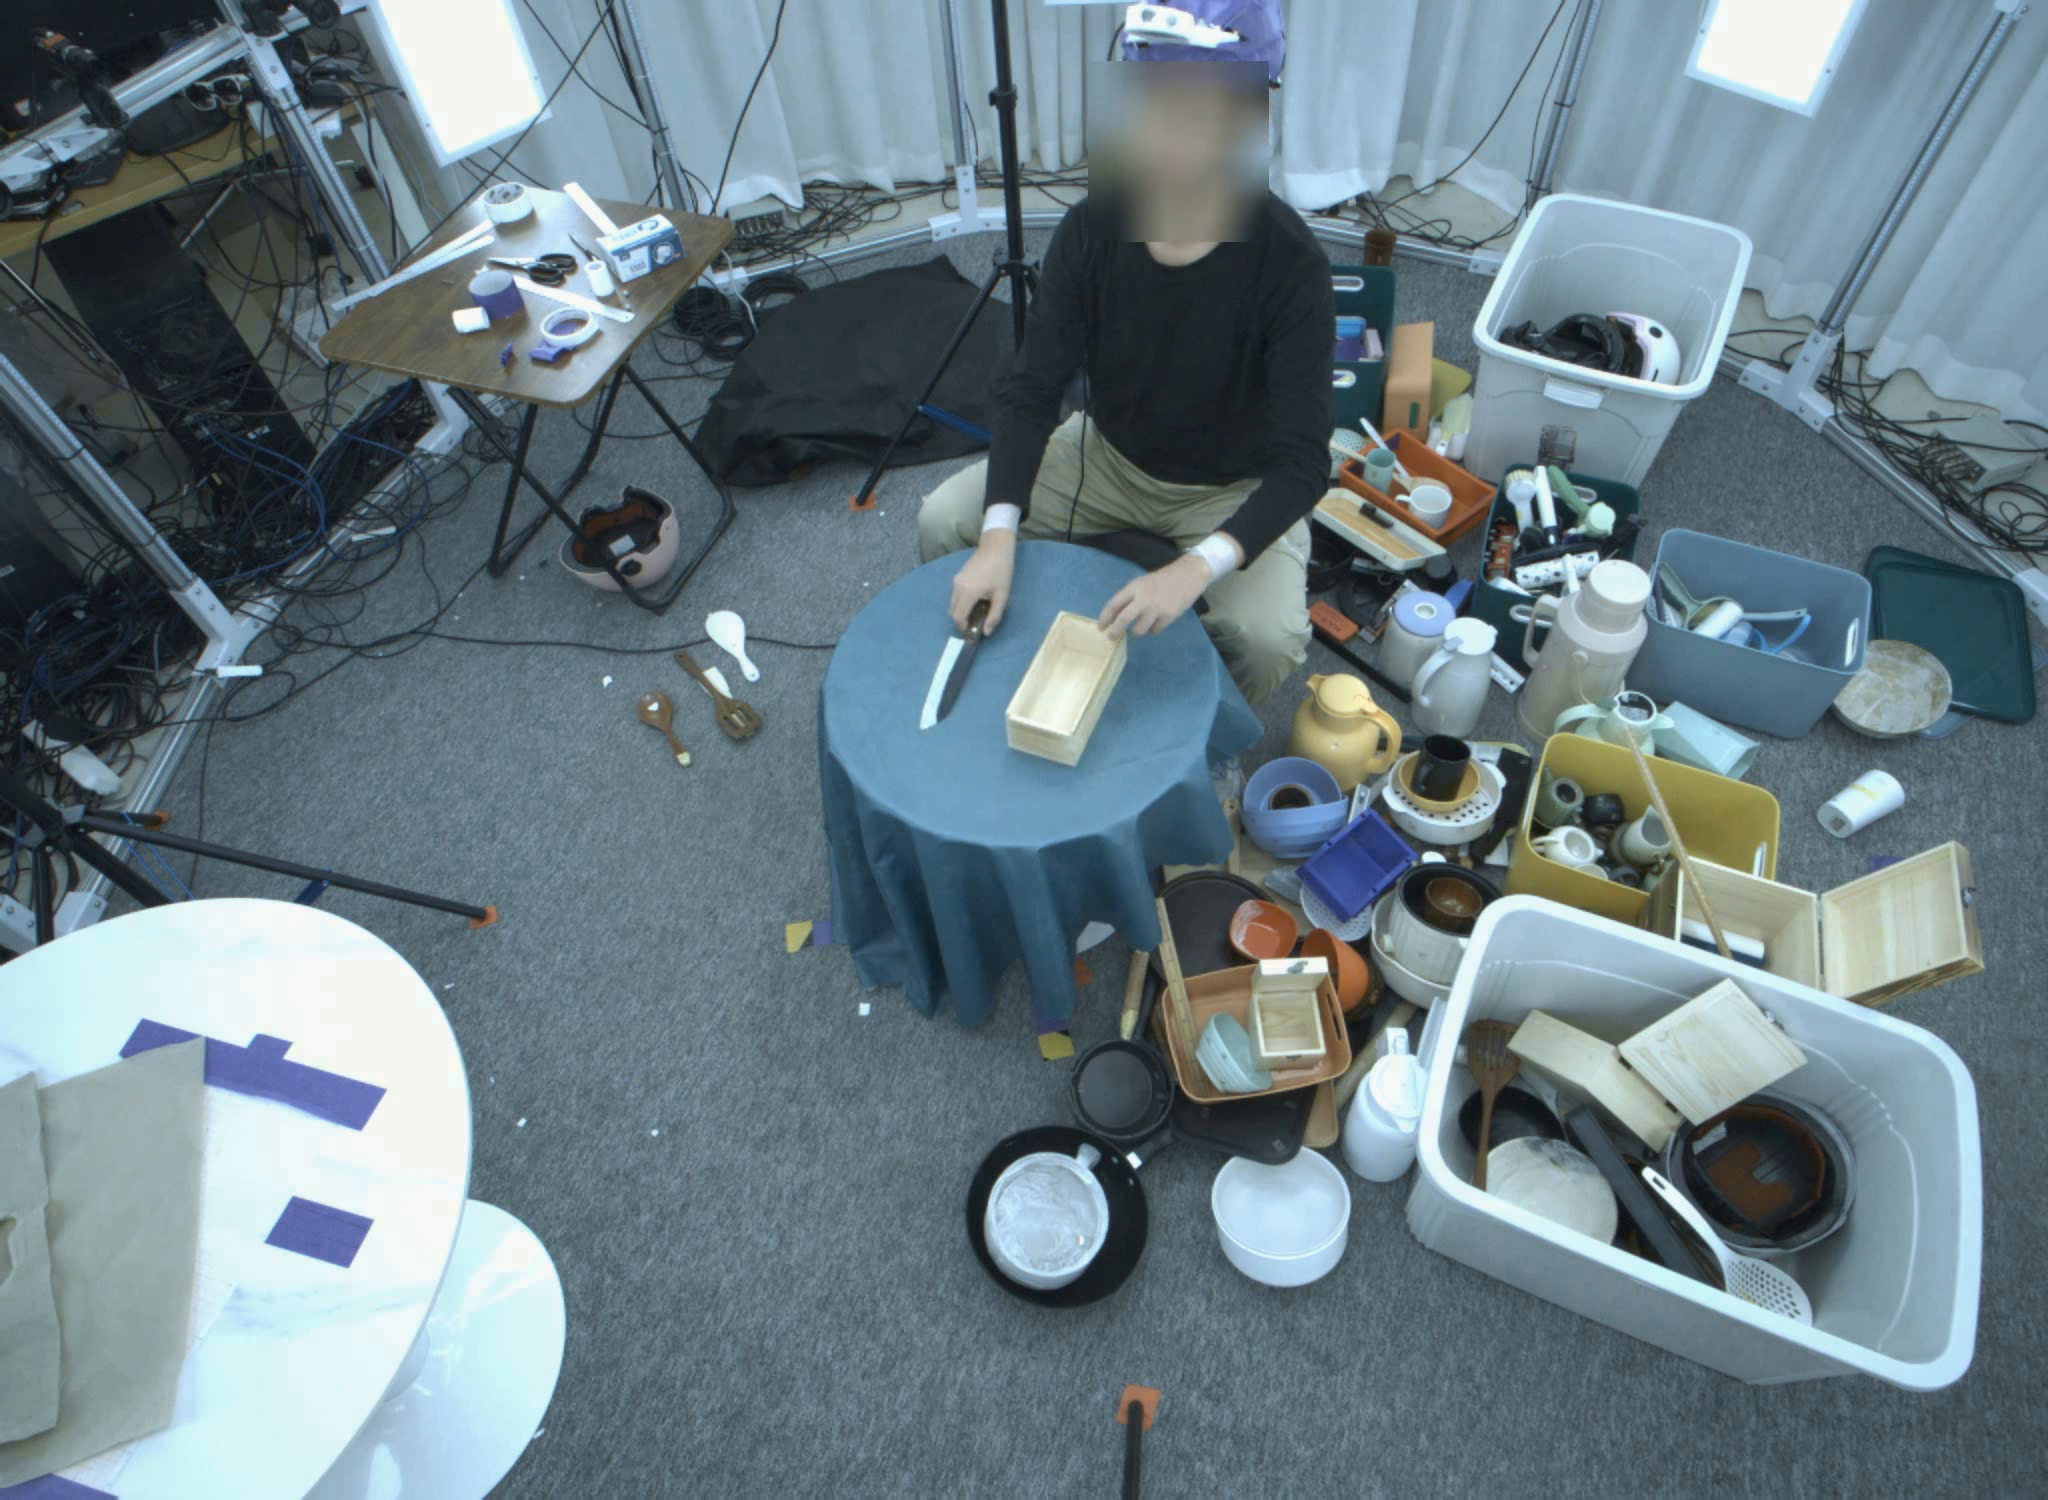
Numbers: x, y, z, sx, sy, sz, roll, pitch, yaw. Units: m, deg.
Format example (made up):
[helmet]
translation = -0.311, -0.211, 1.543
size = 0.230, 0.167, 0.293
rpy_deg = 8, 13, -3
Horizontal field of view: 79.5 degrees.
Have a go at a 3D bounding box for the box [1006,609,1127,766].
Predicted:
[box]
translation = 0.065, -0.094, 1.803
size = 0.106, 0.081, 0.211
rpy_deg = 18, 58, 14

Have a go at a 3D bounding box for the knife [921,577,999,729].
[knife]
translation = -0.098, -0.150, 1.876
size = 0.050, 0.020, 0.288
rpy_deg = 18, 64, 11
